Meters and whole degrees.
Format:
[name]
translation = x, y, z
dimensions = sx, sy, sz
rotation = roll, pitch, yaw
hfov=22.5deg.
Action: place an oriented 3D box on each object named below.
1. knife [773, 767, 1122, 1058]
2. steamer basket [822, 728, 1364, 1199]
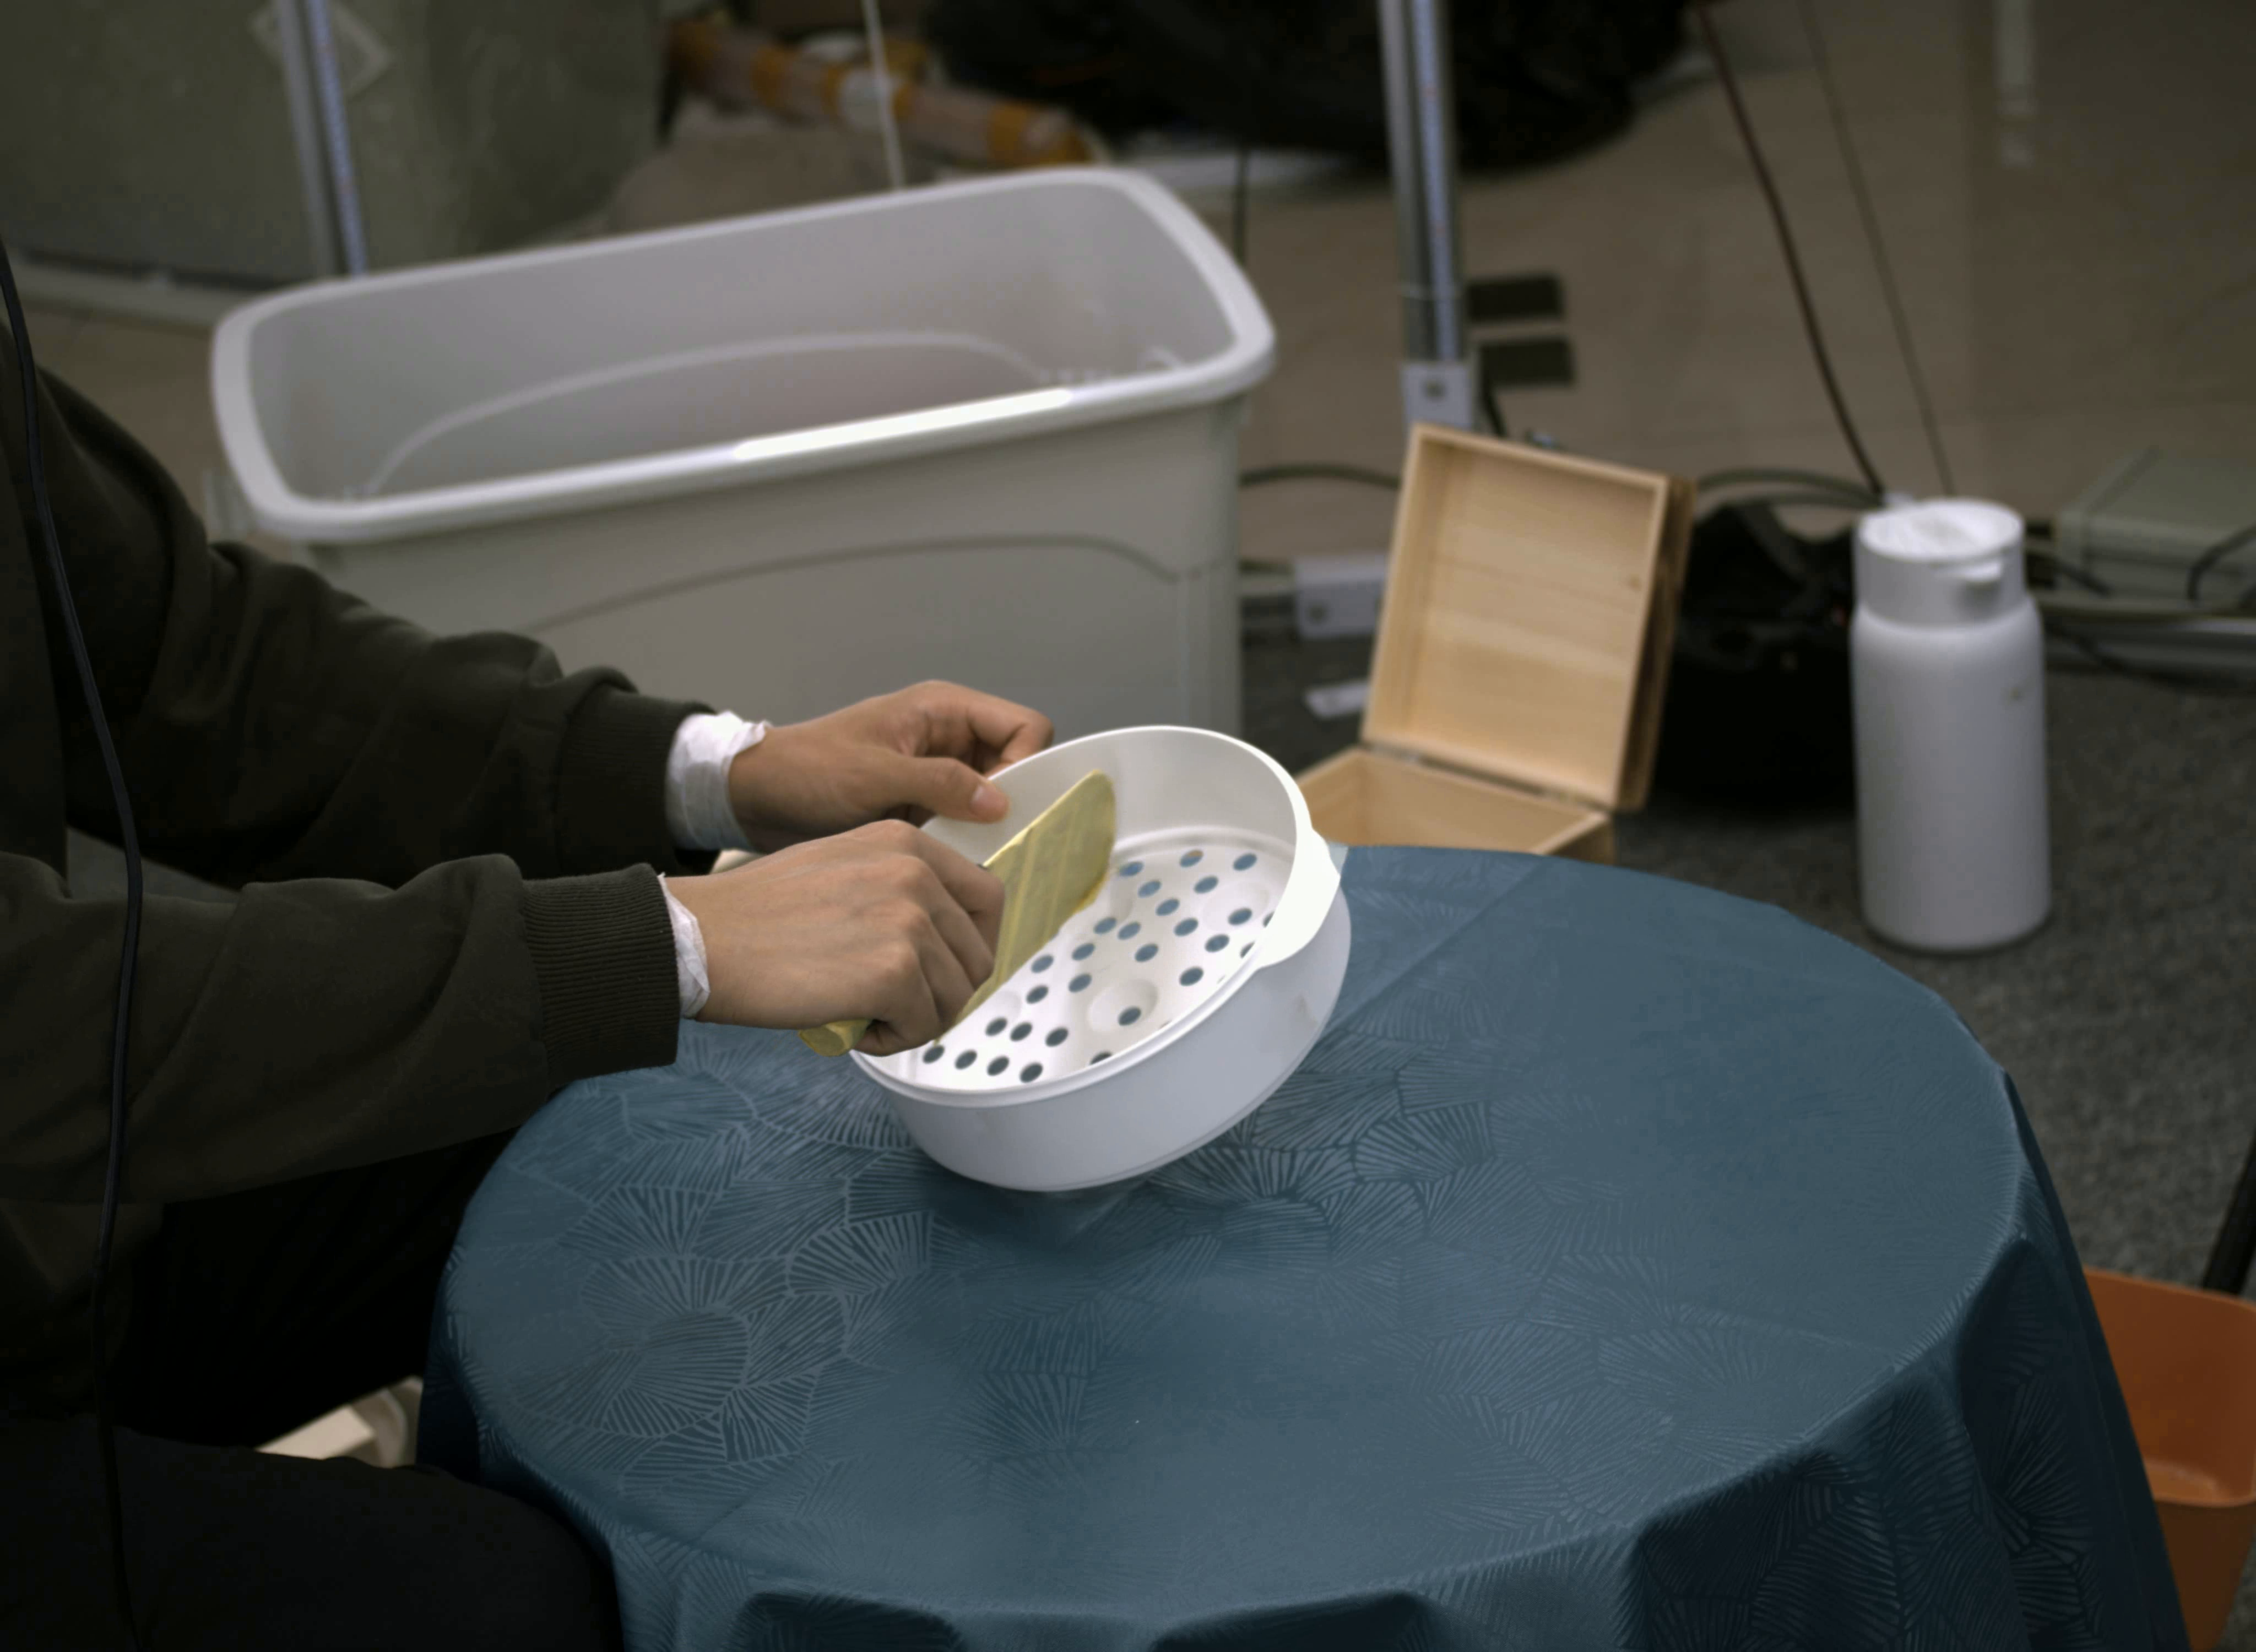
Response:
[knife]
translation = -0.062, 0.042, 2.127
dimensions = 0.027, 0.082, 0.287
rotation = 18, 23, 19
[steamer basket]
translation = -0.007, 0.053, 2.187
dimensions = 0.230, 0.070, 0.198
rotation = -5, 43, 31
